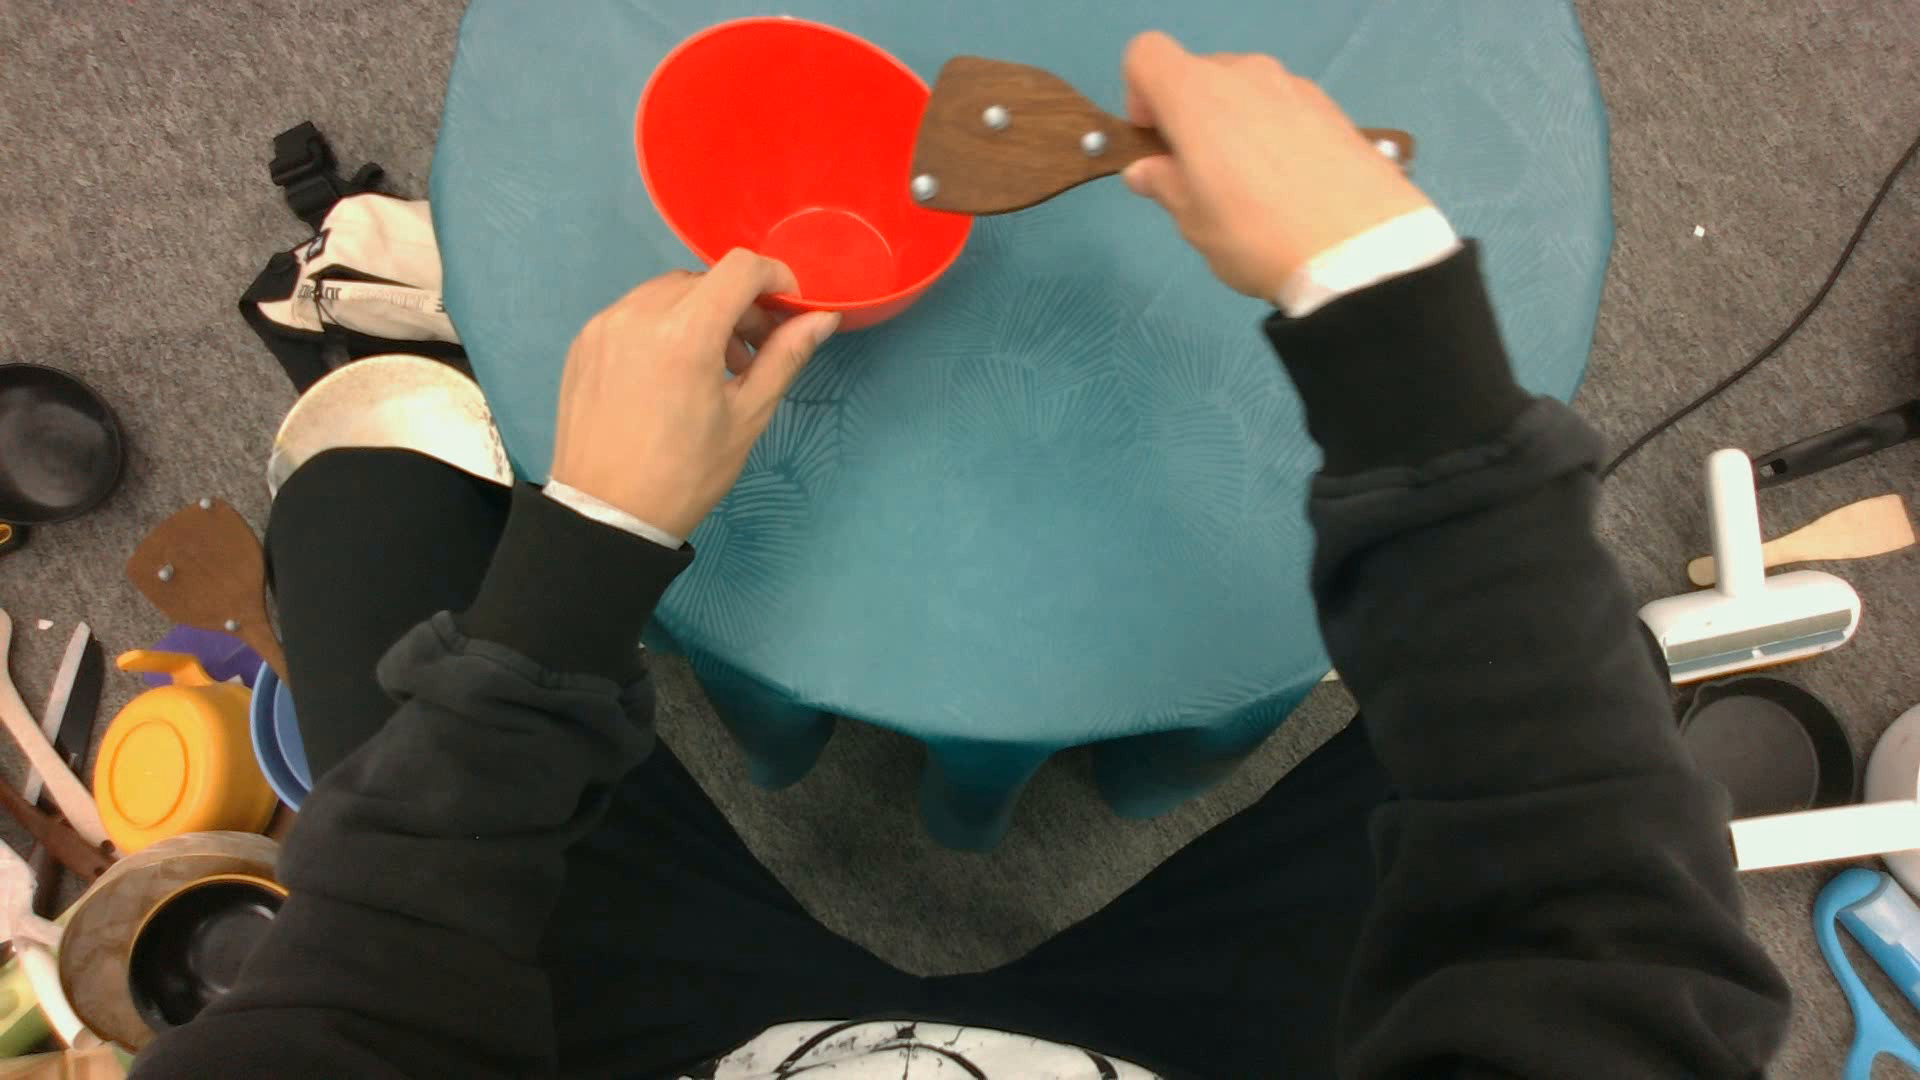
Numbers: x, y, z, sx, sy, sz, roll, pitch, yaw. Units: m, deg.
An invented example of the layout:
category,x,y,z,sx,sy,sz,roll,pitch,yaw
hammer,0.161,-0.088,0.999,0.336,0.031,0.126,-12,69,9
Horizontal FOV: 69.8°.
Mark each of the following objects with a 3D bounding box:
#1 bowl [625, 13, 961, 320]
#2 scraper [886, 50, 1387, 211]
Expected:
category,x,y,z,sx,sy,sz,roll,pitch,yaw
bowl,-0.076,-0.157,0.638,0.148,0.104,0.148,4,68,-9
scraper,0.069,-0.166,0.573,0.211,0.011,0.076,11,78,22
